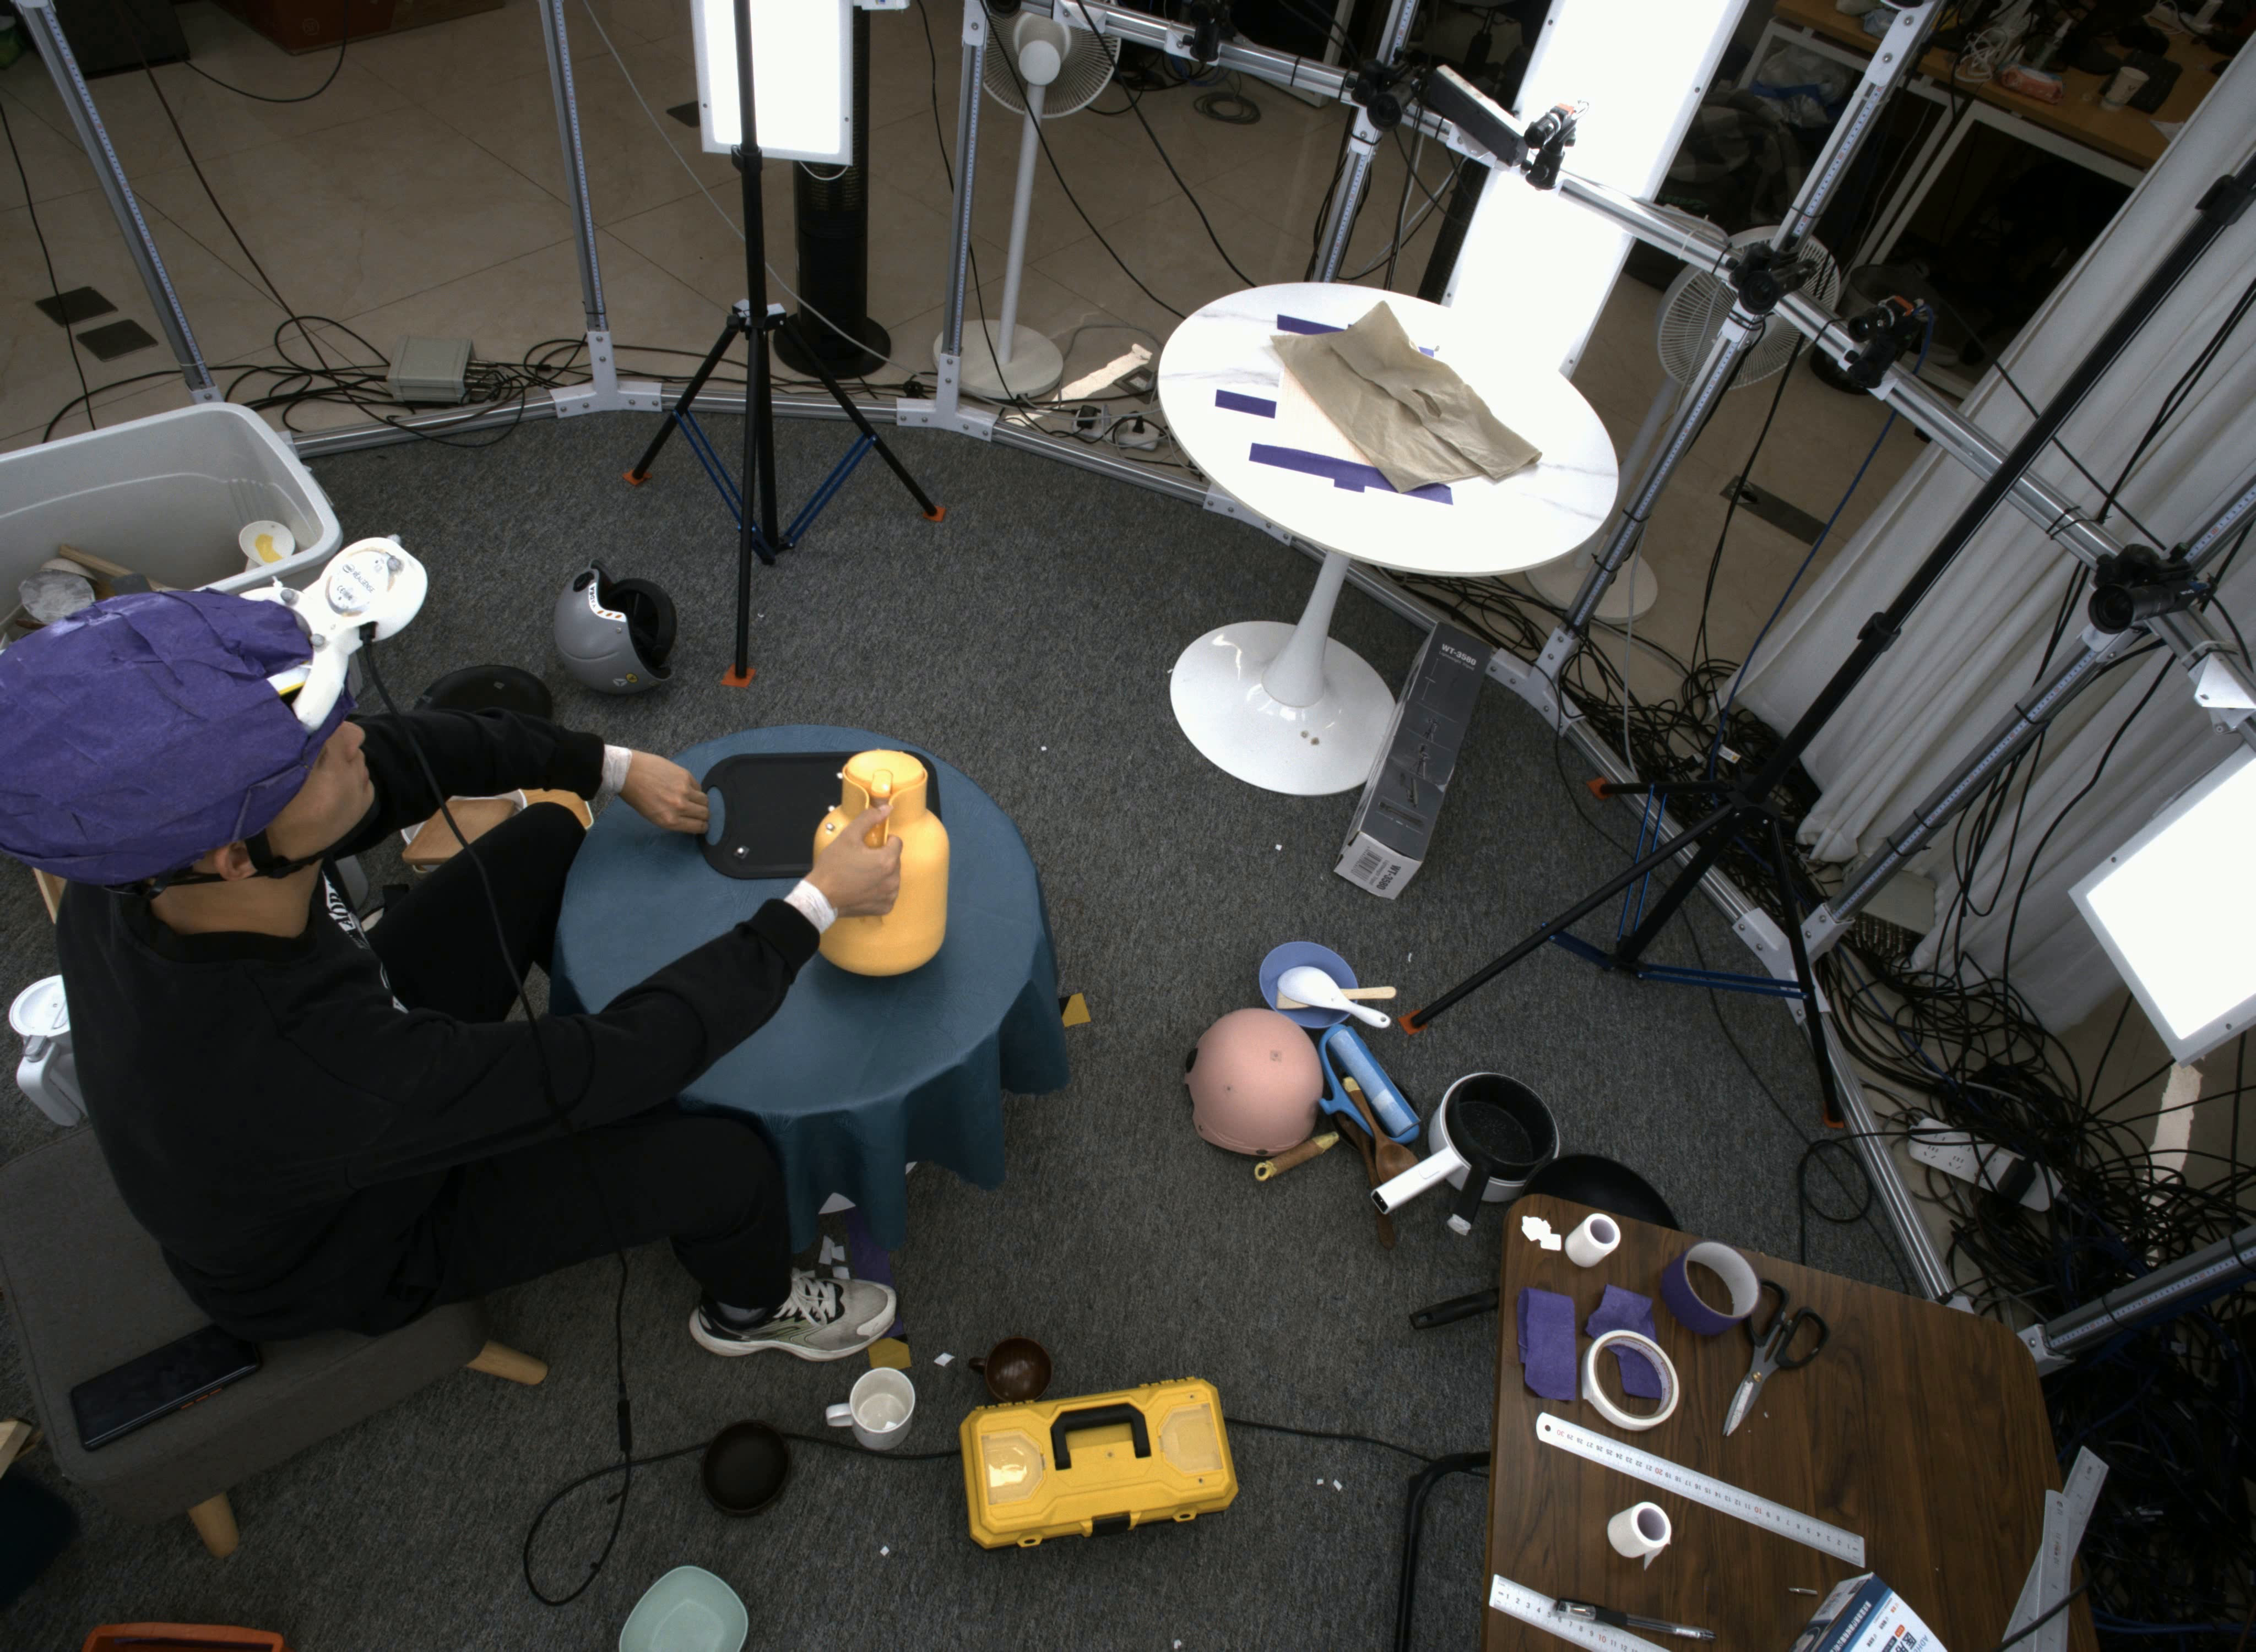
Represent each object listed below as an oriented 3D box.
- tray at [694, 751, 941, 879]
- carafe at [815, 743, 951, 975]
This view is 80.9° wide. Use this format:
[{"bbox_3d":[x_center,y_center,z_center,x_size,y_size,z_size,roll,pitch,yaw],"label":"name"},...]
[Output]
[{"bbox_3d":[-0.413,-0.020,1.735,0.326,0.010,0.206,-1,54,-16],"label":"tray"},{"bbox_3d":[-0.292,0.043,1.530,0.162,0.268,0.198,3,28,-4],"label":"carafe"}]
